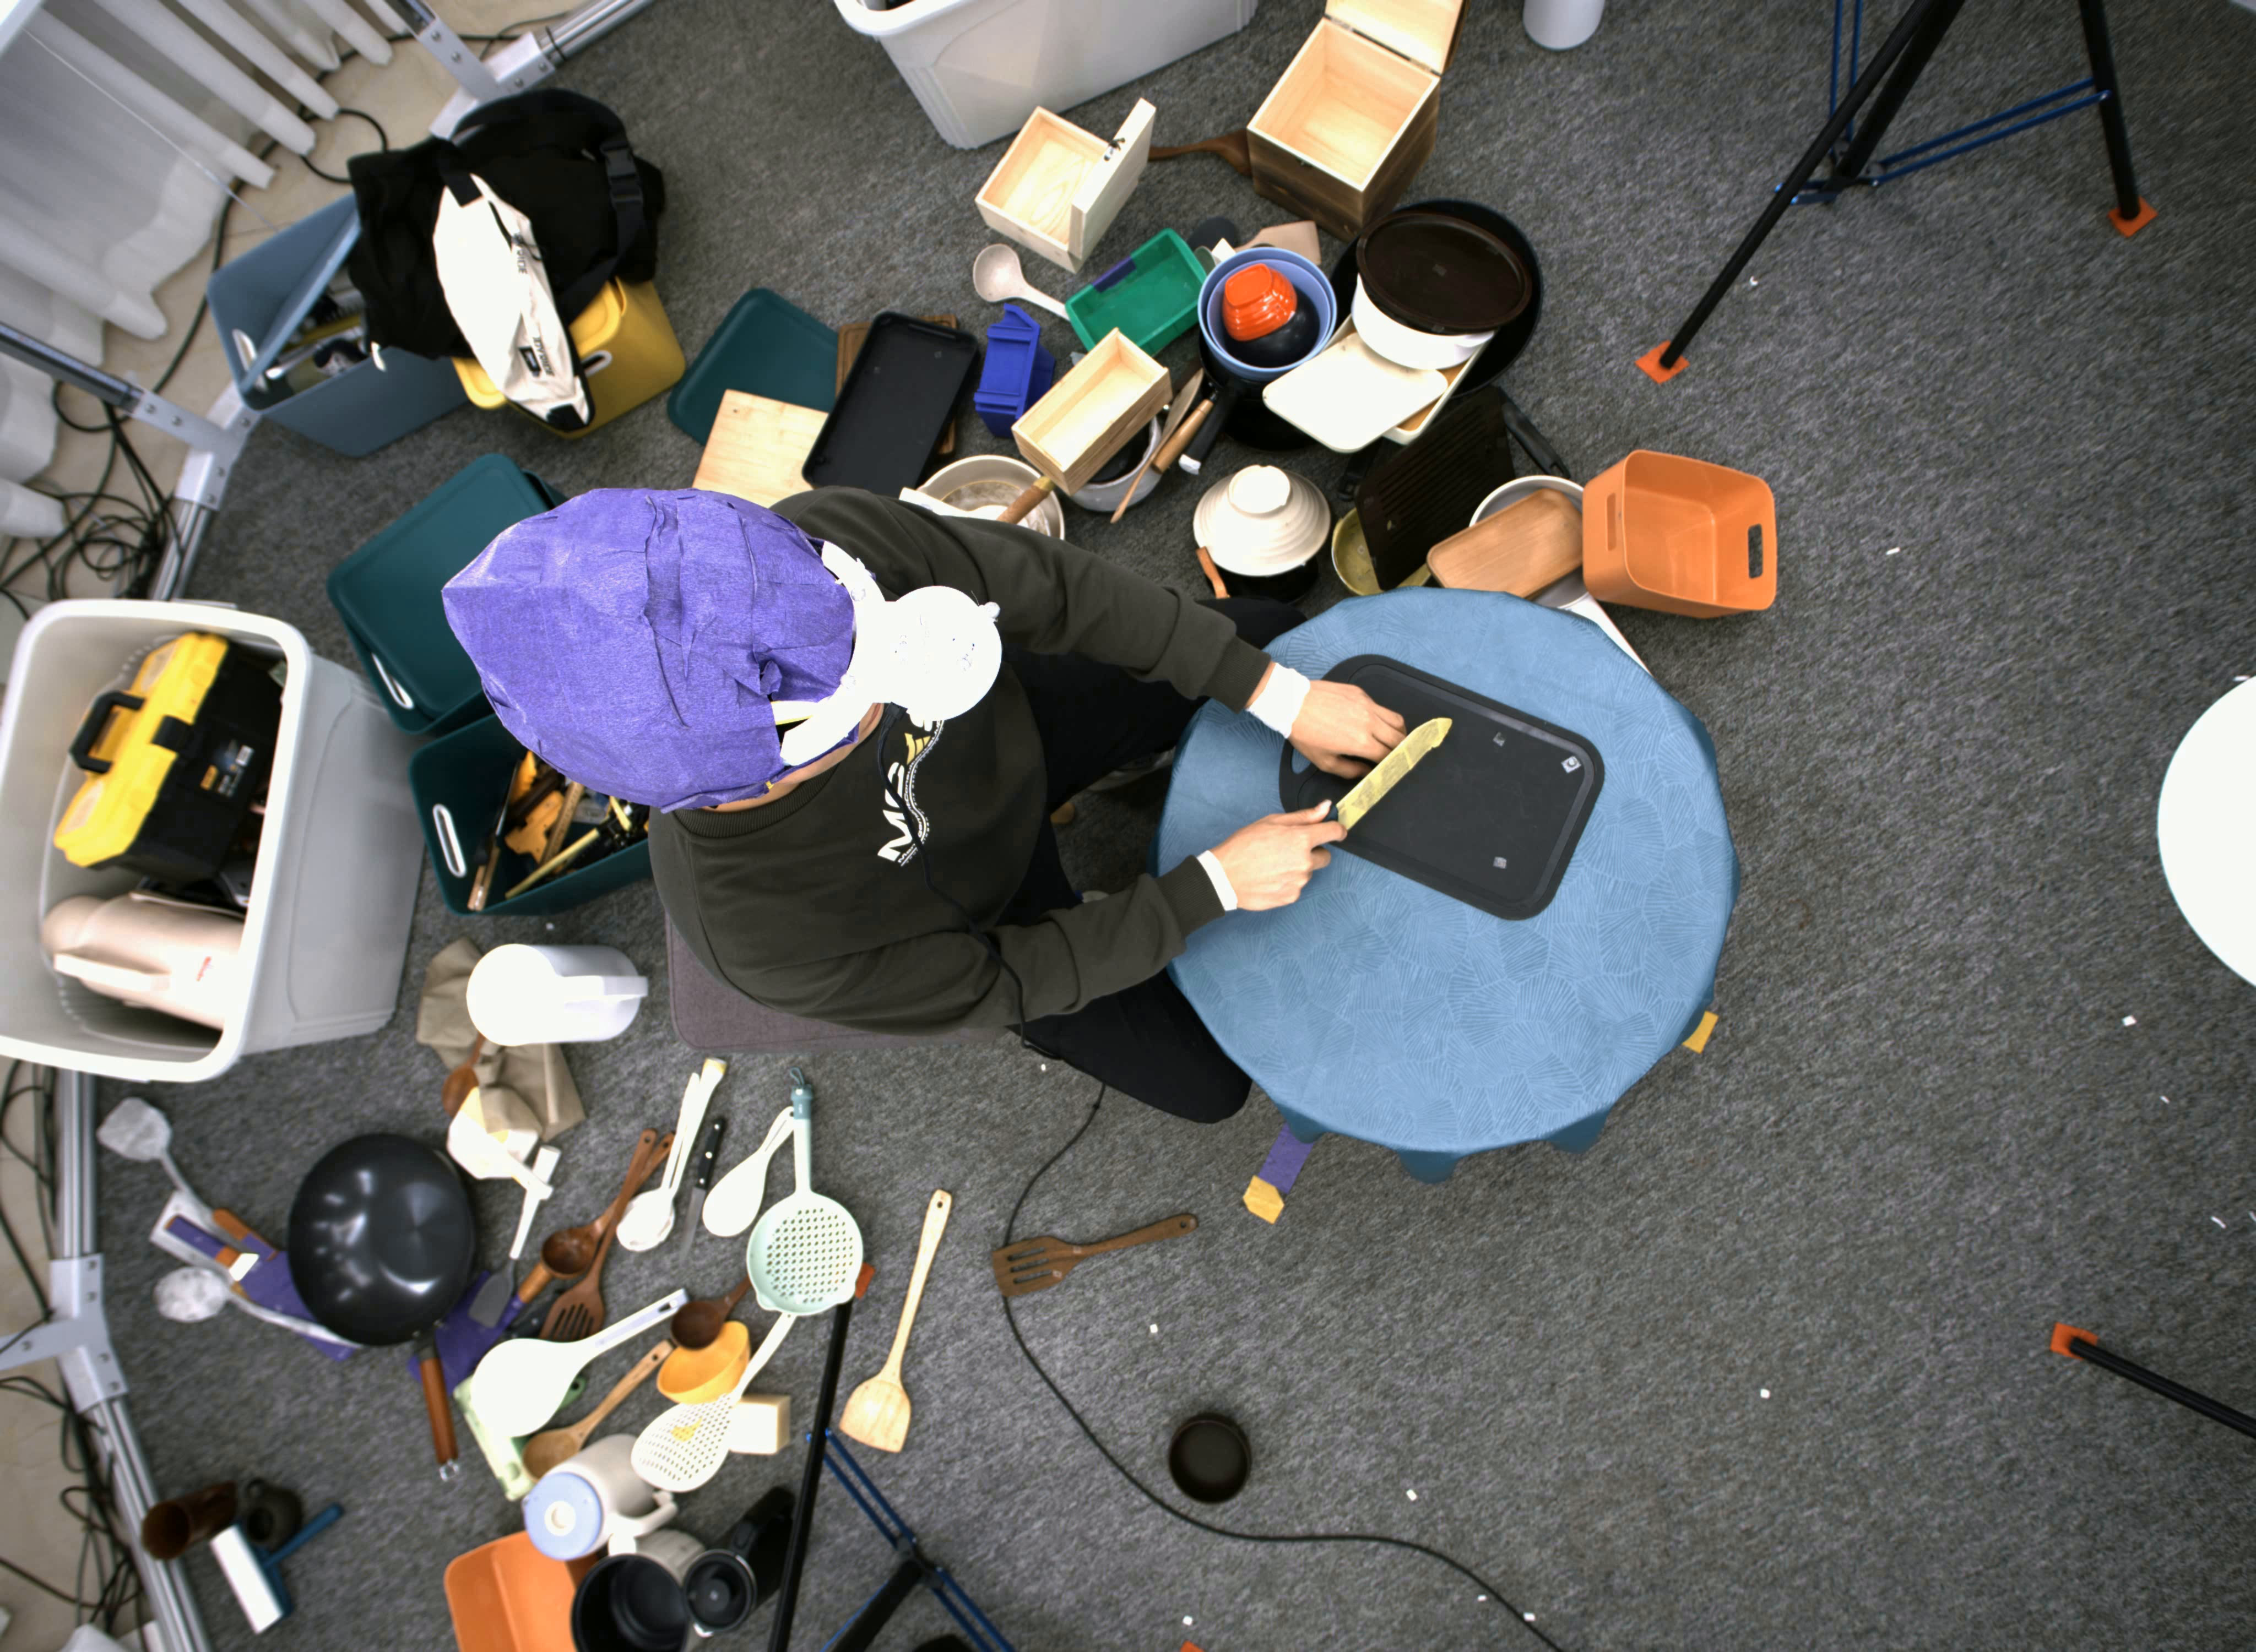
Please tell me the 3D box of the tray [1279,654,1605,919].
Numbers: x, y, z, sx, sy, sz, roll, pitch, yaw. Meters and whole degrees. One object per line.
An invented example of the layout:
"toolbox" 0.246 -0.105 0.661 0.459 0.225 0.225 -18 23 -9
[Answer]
"tray" 0.322 -0.049 1.453 0.325 0.010 0.211 24 91 11

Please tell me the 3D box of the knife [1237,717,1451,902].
"knife" 0.228 -0.019 1.431 0.290 0.082 0.027 -41 61 1
